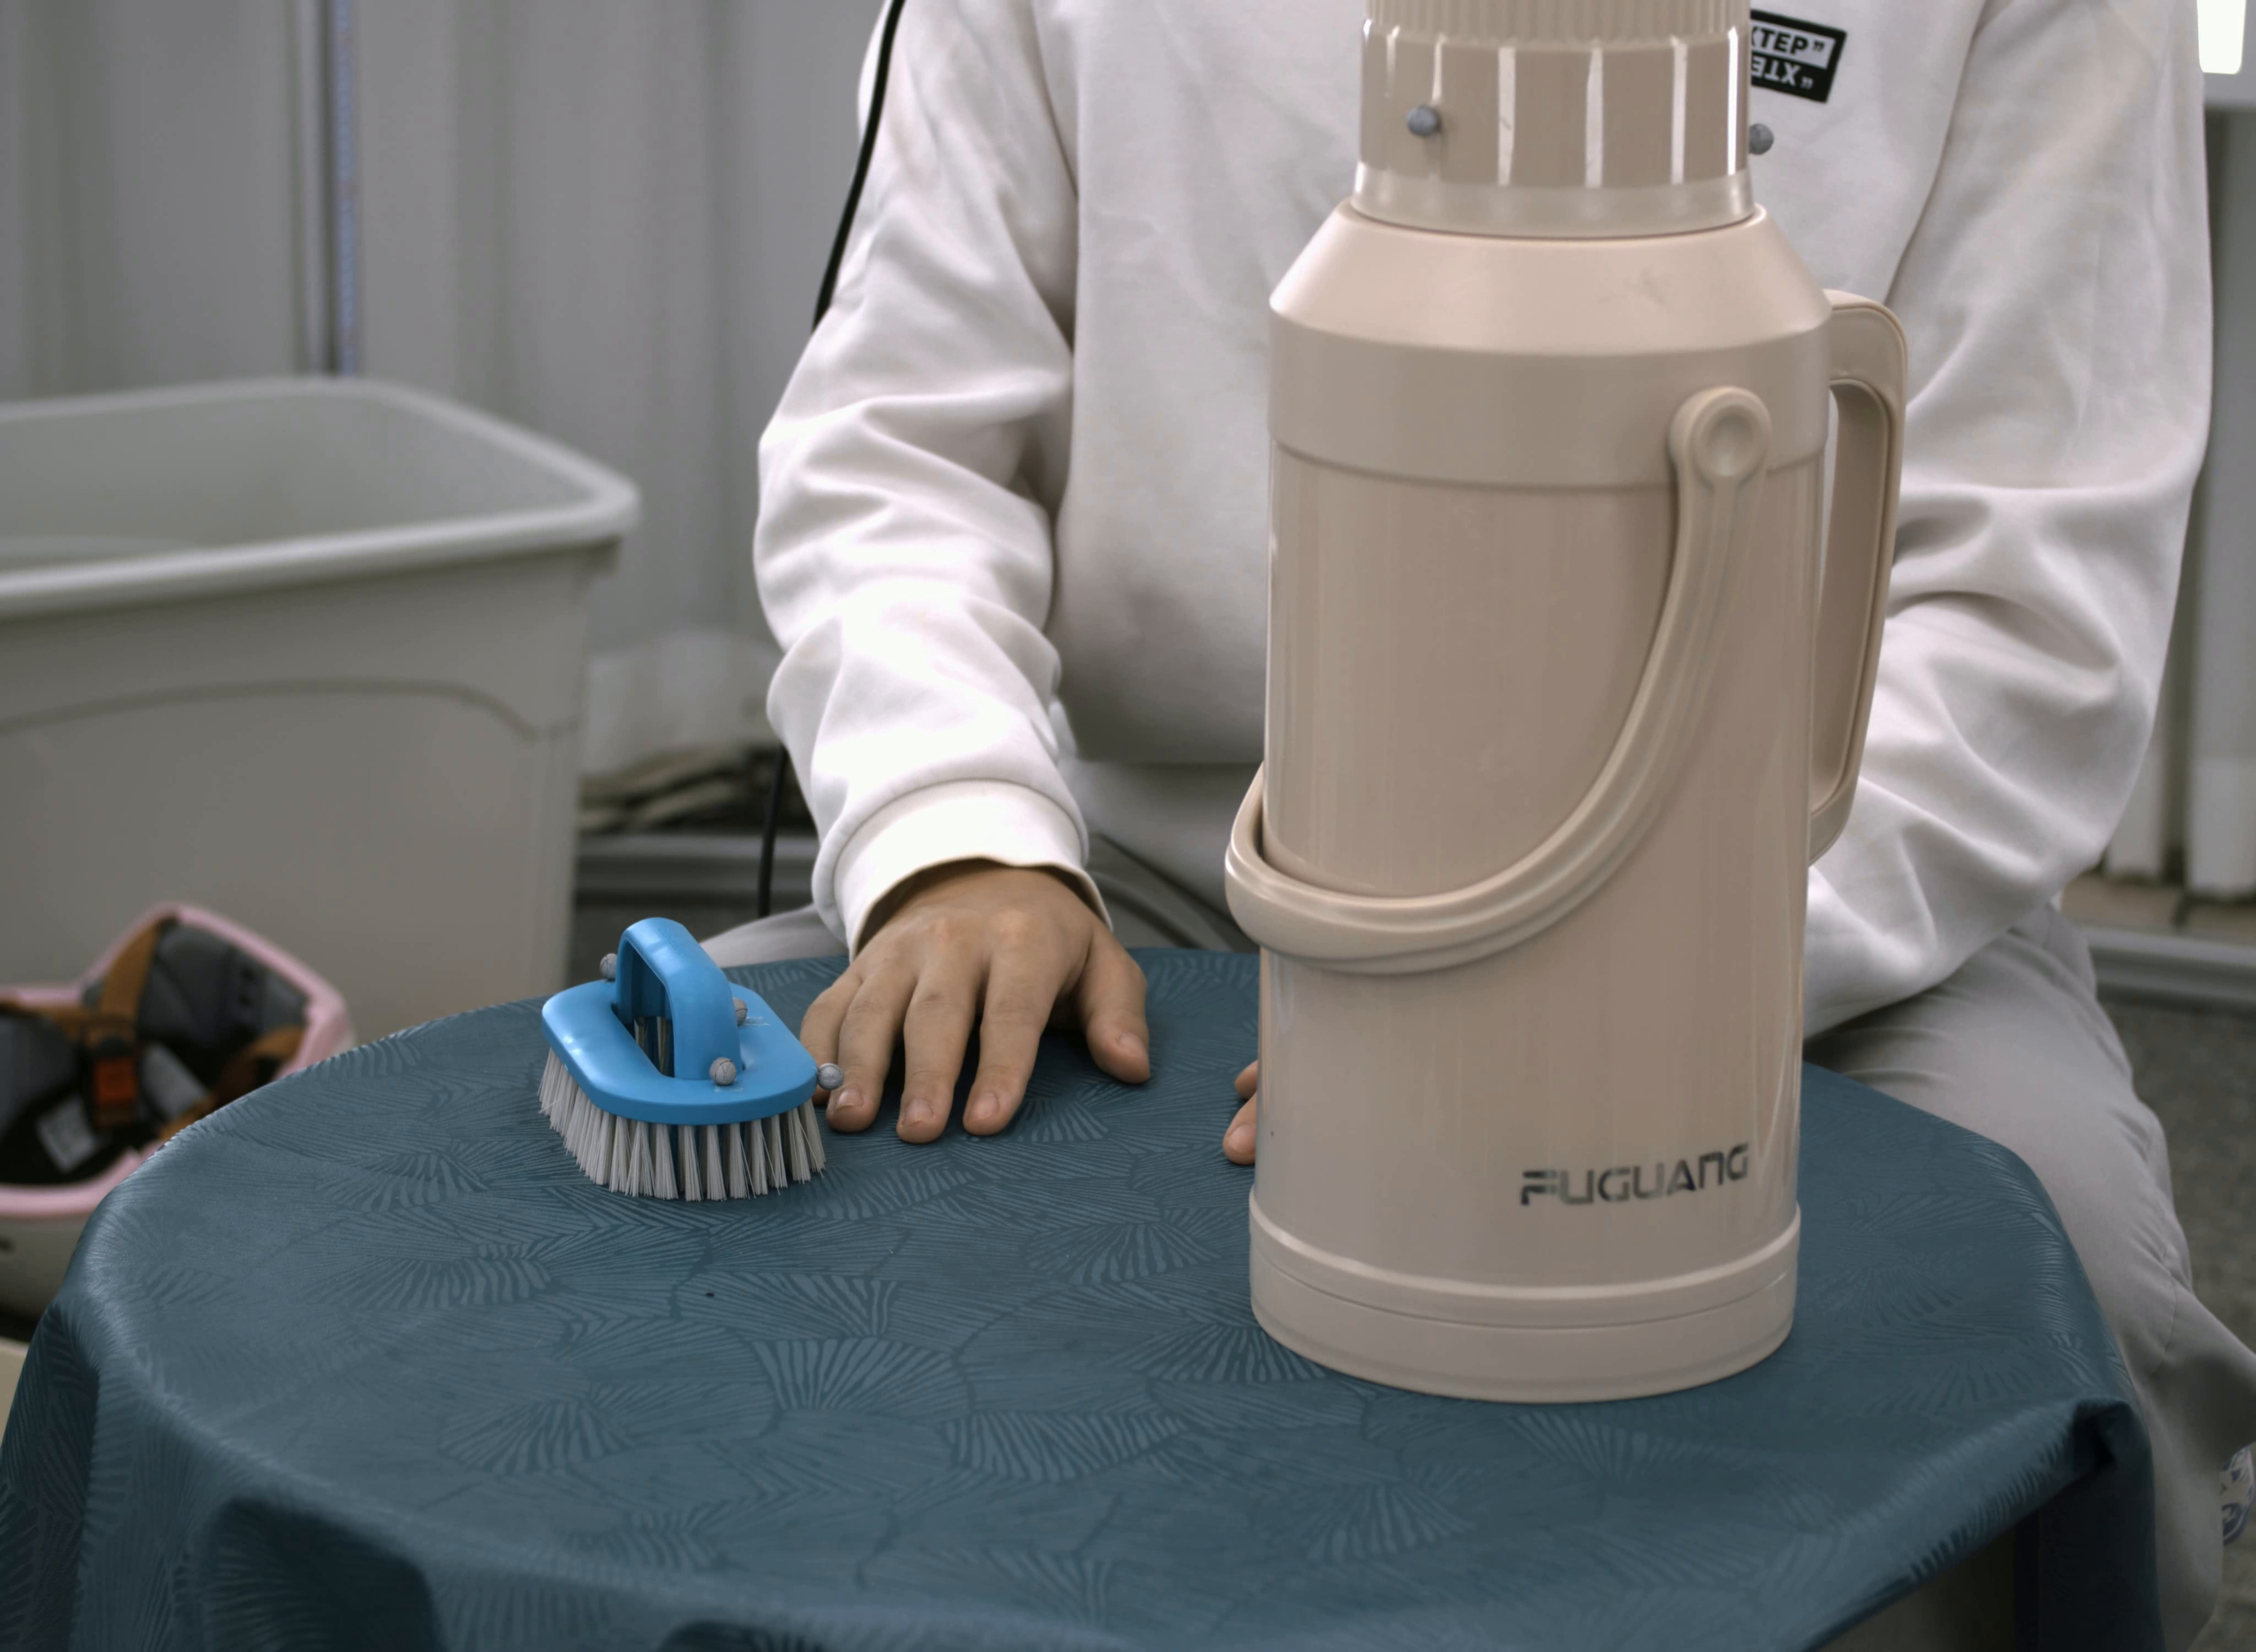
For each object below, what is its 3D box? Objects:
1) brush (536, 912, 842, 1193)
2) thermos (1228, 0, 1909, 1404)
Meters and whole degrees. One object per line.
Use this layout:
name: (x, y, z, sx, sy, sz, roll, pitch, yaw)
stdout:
brush: (-0.142, 0.065, 1.670, 0.084, 0.064, 0.140, -9, 17, -15)
thermos: (0.129, -0.053, 1.487, 0.208, 0.409, 0.173, -9, 17, -30)
